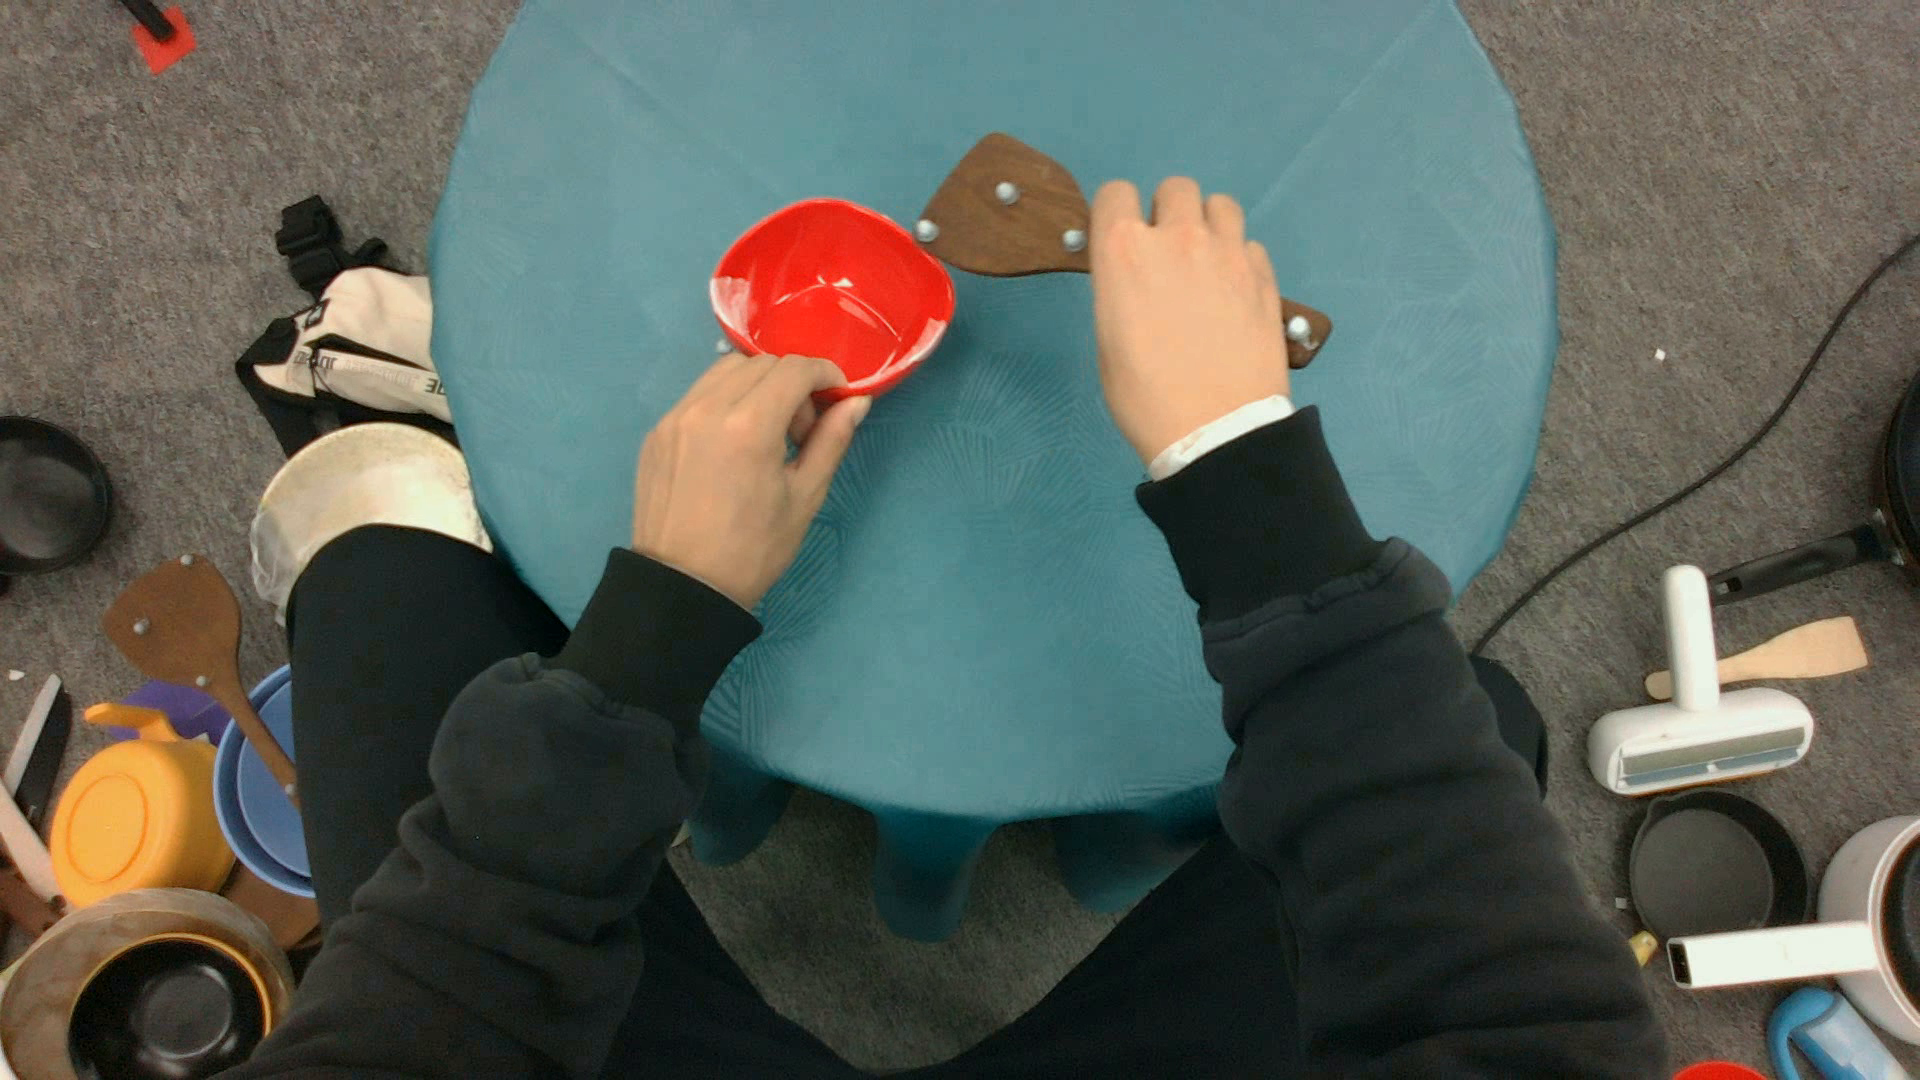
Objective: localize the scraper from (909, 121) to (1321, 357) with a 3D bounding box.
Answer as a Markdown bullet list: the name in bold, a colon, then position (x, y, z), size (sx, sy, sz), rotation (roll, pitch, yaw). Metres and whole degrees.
- **scraper**: position (0.068, -0.131, 0.620), size (0.211, 0.011, 0.076), rotation (32, 80, 32)

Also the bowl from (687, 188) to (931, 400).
- **bowl**: position (-0.076, -0.115, 0.688), size (0.119, 0.051, 0.119), rotation (6, 58, -9)
